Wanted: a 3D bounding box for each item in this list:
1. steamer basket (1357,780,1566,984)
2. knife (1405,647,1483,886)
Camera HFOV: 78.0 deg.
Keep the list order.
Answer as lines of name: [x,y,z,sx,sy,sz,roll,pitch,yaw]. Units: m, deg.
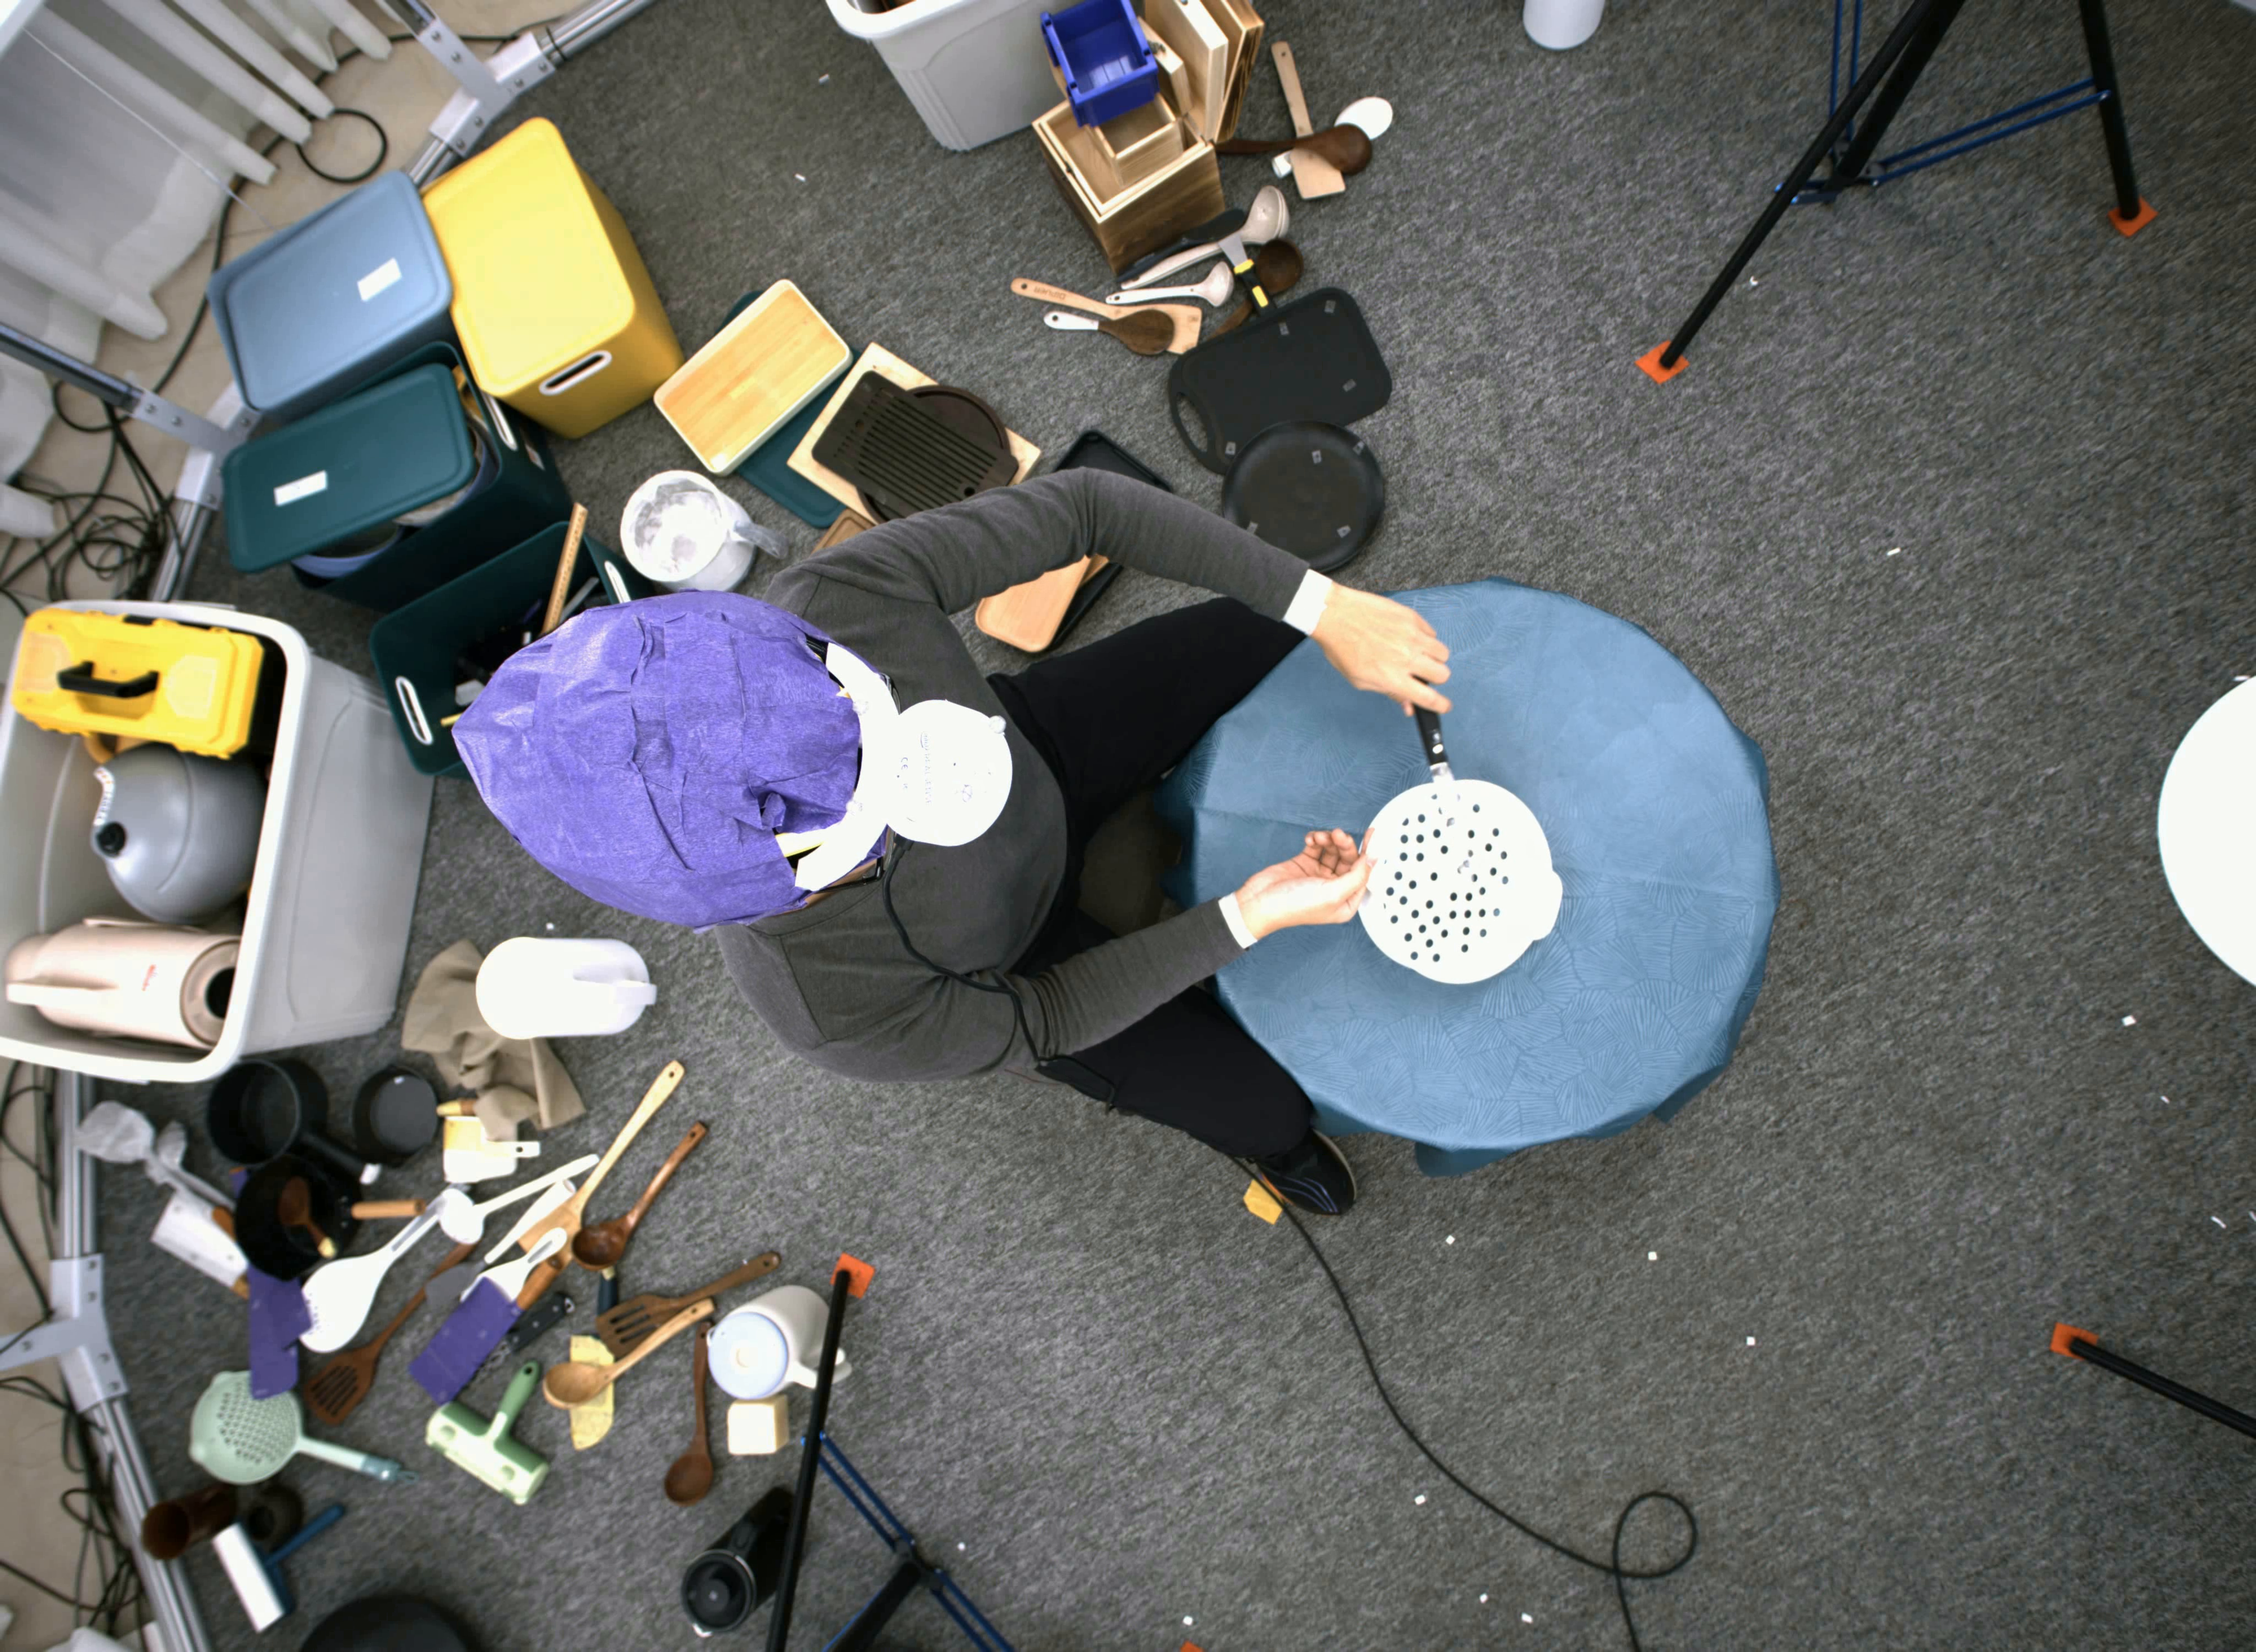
steamer basket: [0.326,0.052,1.382,0.231,0.069,0.202,15,91,-18]
knife: [0.304,-0.057,1.317,0.024,0.016,0.238,-17,93,-17]
